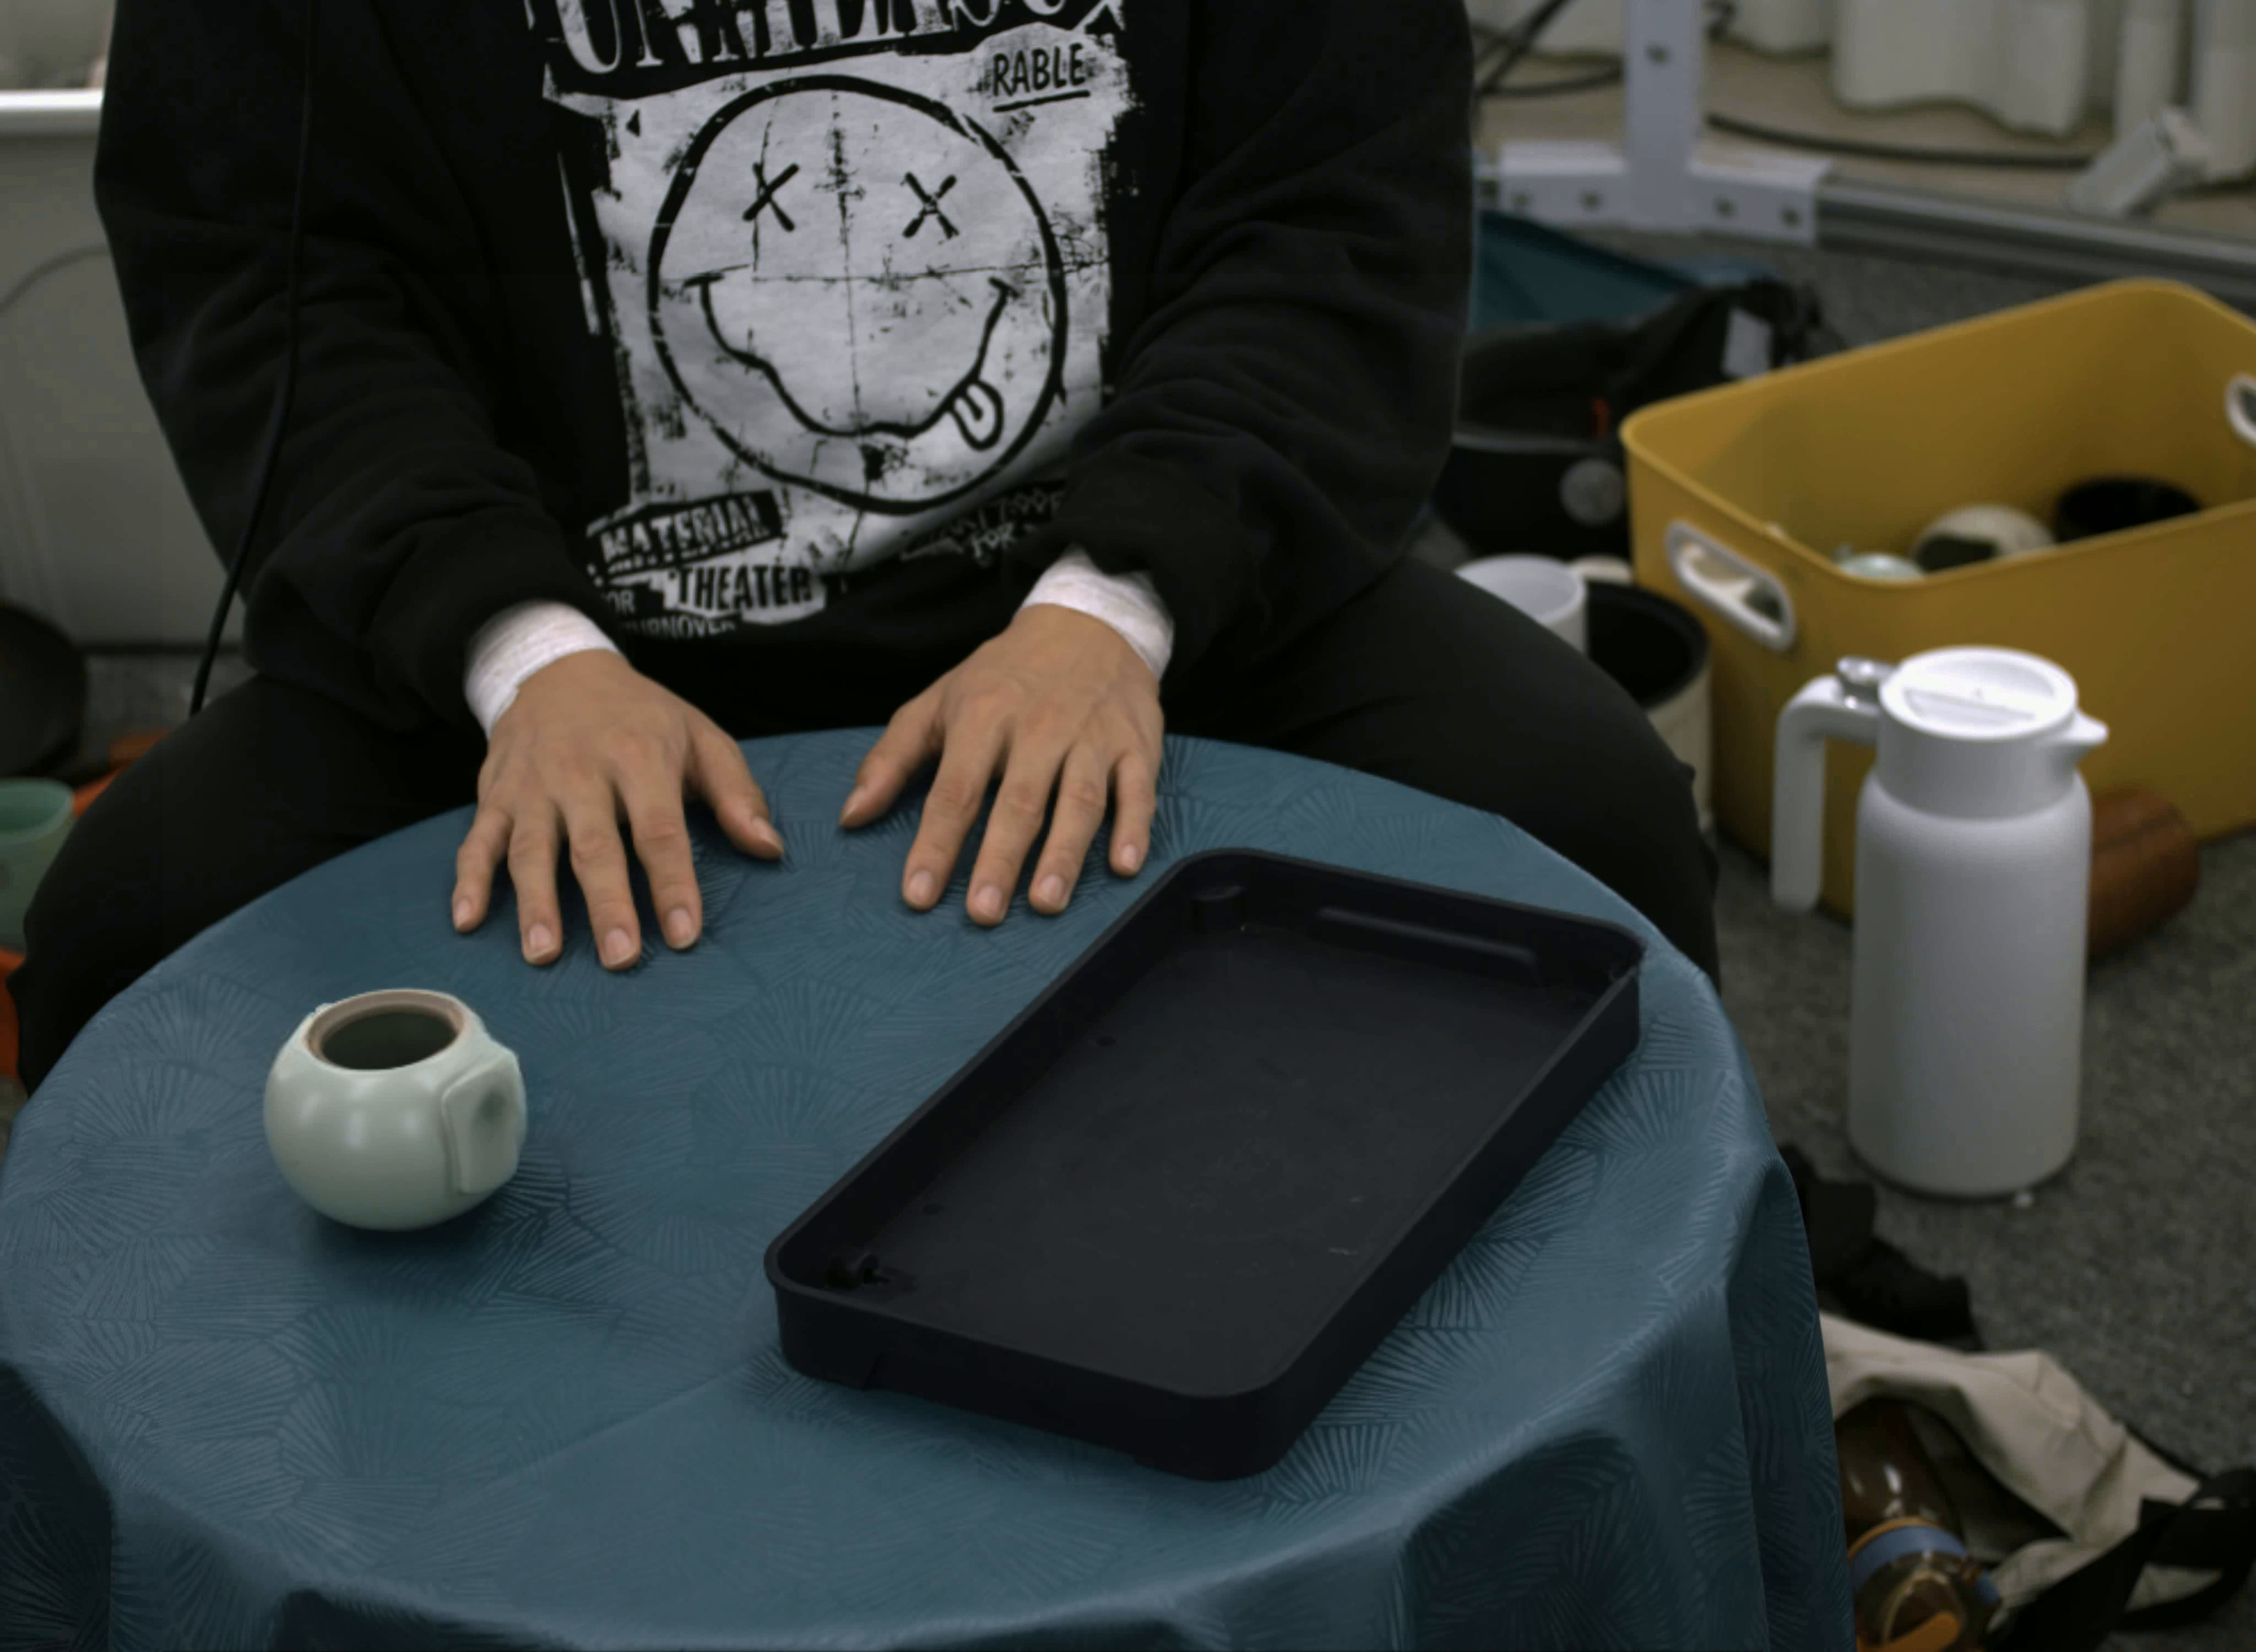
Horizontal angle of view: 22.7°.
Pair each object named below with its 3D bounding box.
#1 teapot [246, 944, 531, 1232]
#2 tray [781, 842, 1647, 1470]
[{"bbox_3d":[-0.243,0.093,1.859,0.089,0.074,0.144,-25,36,-37],"label":"teapot"},{"bbox_3d":[0.035,0.101,1.856,0.183,0.036,0.323,10,30,24],"label":"tray"}]
